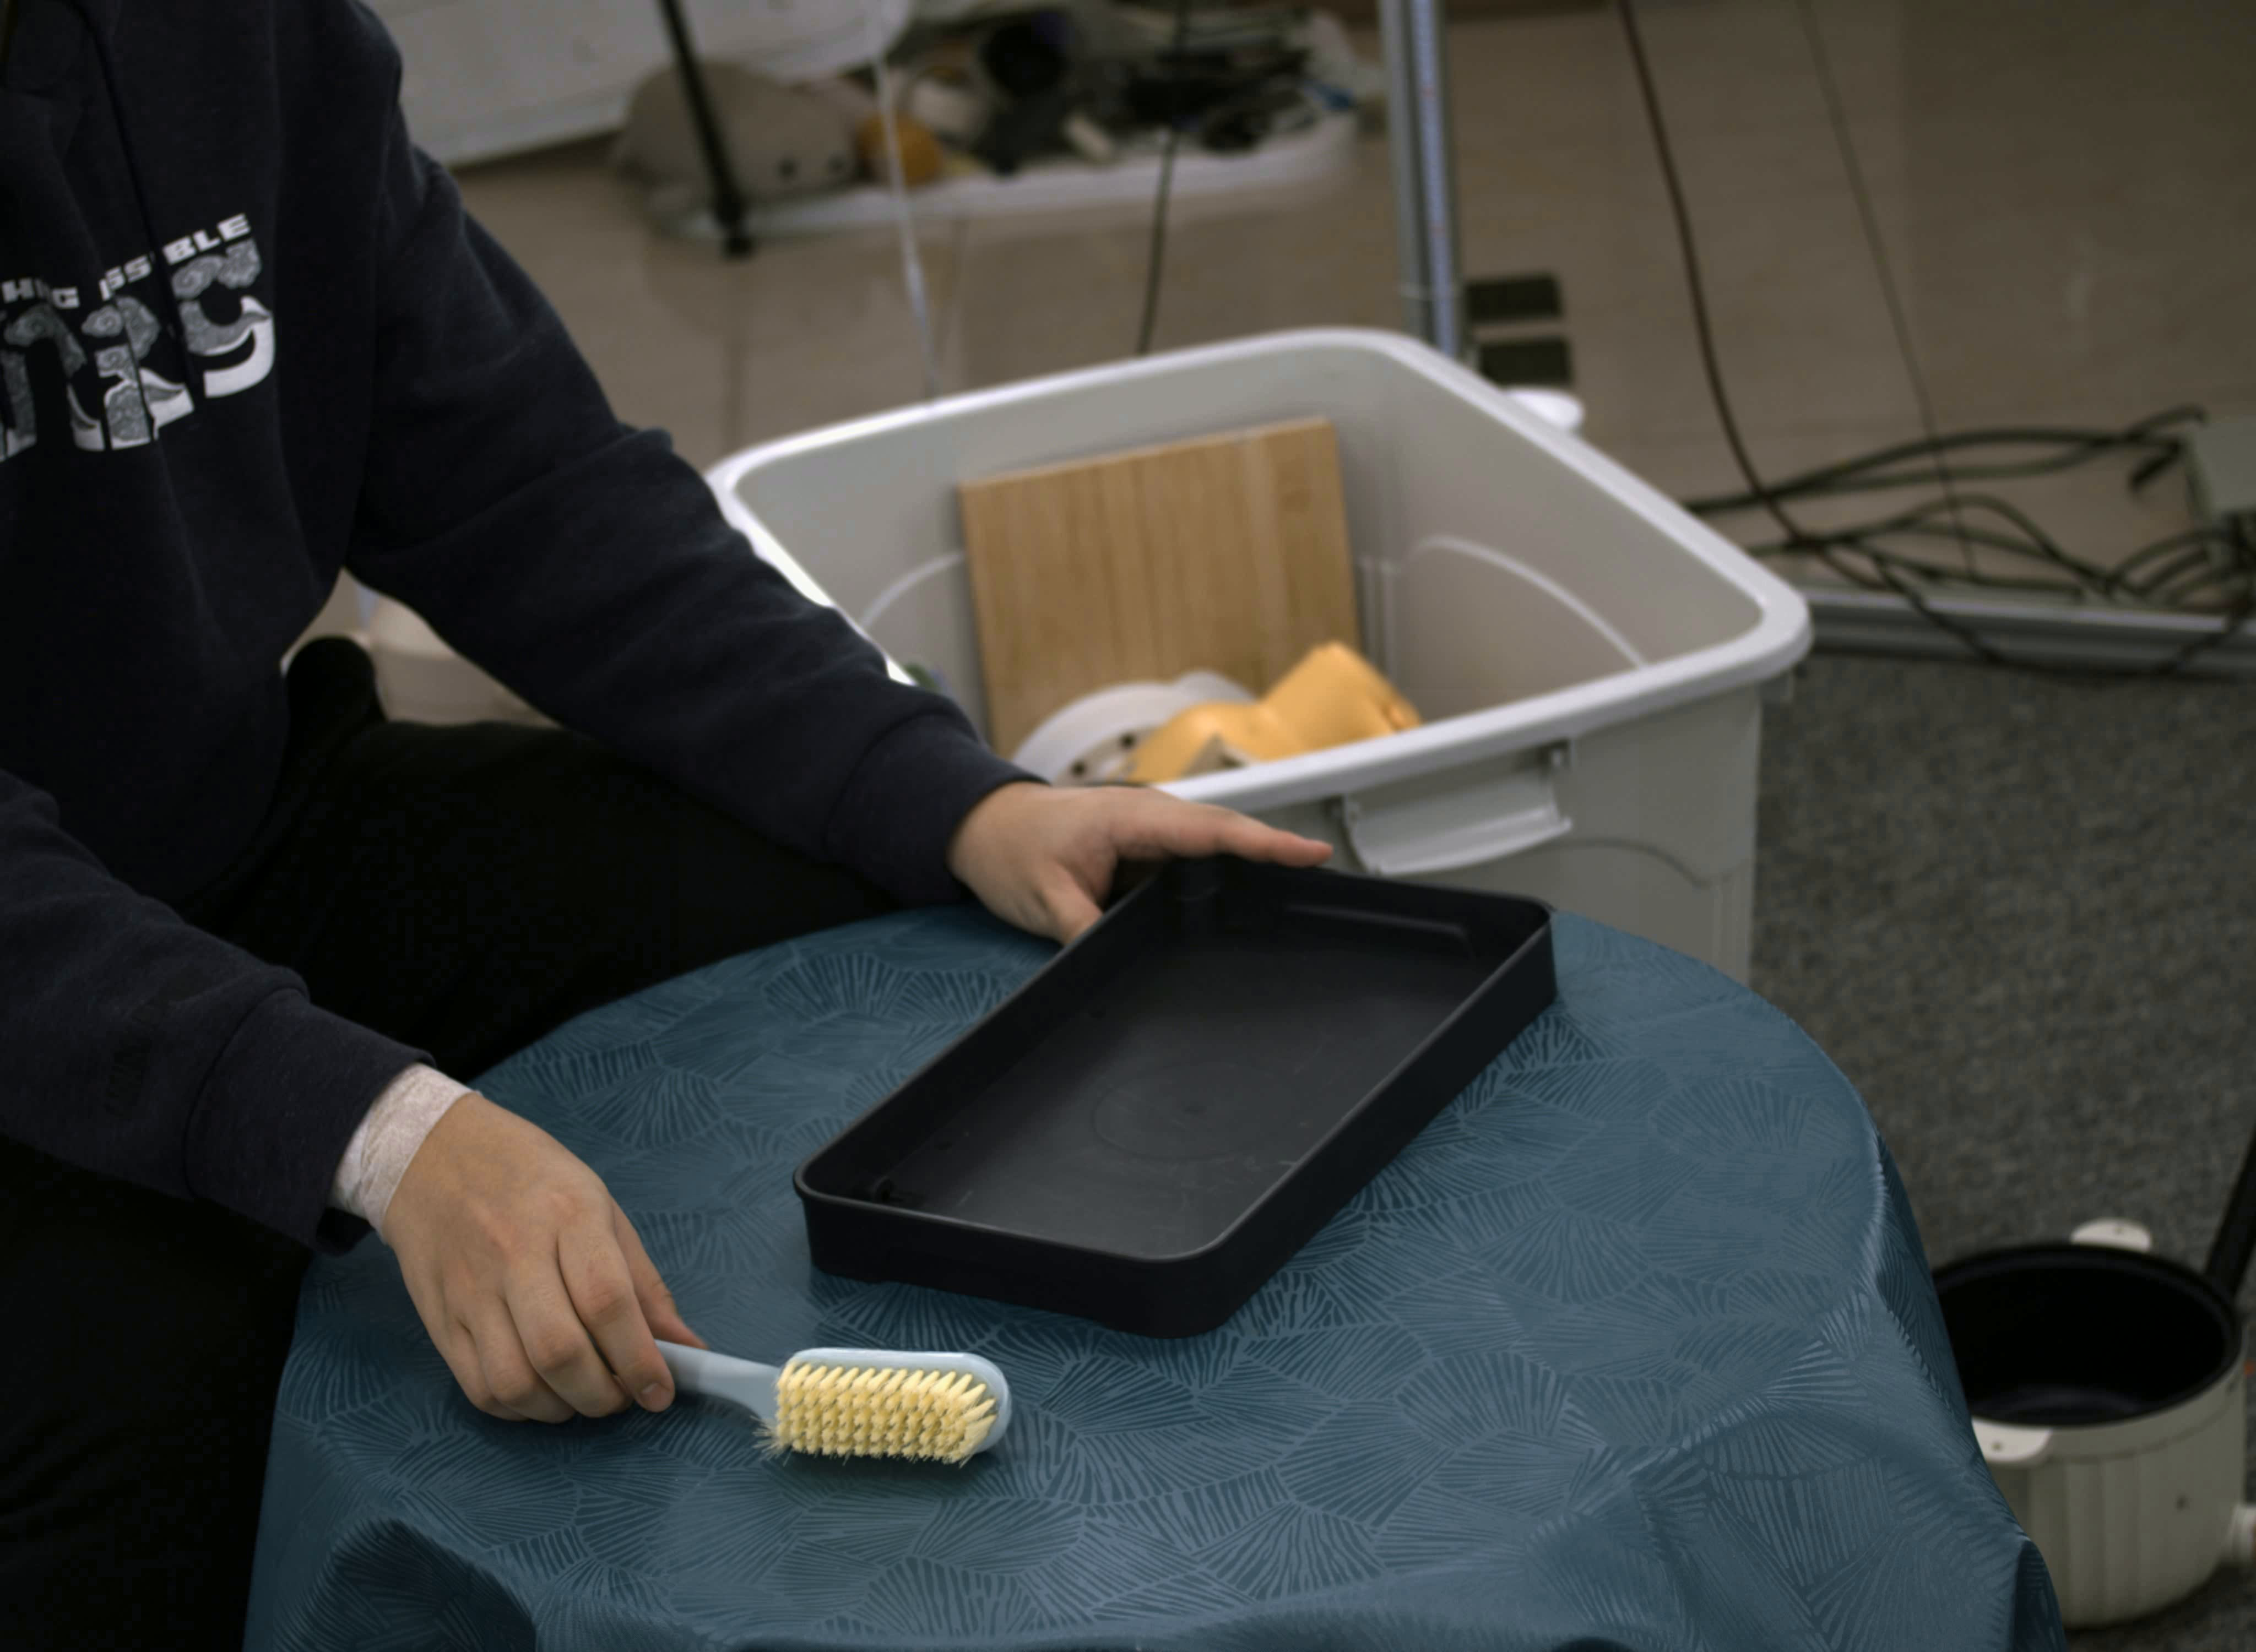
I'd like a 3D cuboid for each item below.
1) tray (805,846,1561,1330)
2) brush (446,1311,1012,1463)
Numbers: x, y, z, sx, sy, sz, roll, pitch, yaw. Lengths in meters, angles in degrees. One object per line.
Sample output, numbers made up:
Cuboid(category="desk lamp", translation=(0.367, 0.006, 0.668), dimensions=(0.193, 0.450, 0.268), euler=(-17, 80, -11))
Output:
Cuboid(category="tray", translation=(0.028, 0.095, 2.193), dimensions=(0.183, 0.037, 0.314), euler=(7, 28, 28))
Cuboid(category="brush", translation=(-0.150, 0.196, 2.014), dimensions=(0.228, 0.038, 0.049), euler=(7, 16, 28))
